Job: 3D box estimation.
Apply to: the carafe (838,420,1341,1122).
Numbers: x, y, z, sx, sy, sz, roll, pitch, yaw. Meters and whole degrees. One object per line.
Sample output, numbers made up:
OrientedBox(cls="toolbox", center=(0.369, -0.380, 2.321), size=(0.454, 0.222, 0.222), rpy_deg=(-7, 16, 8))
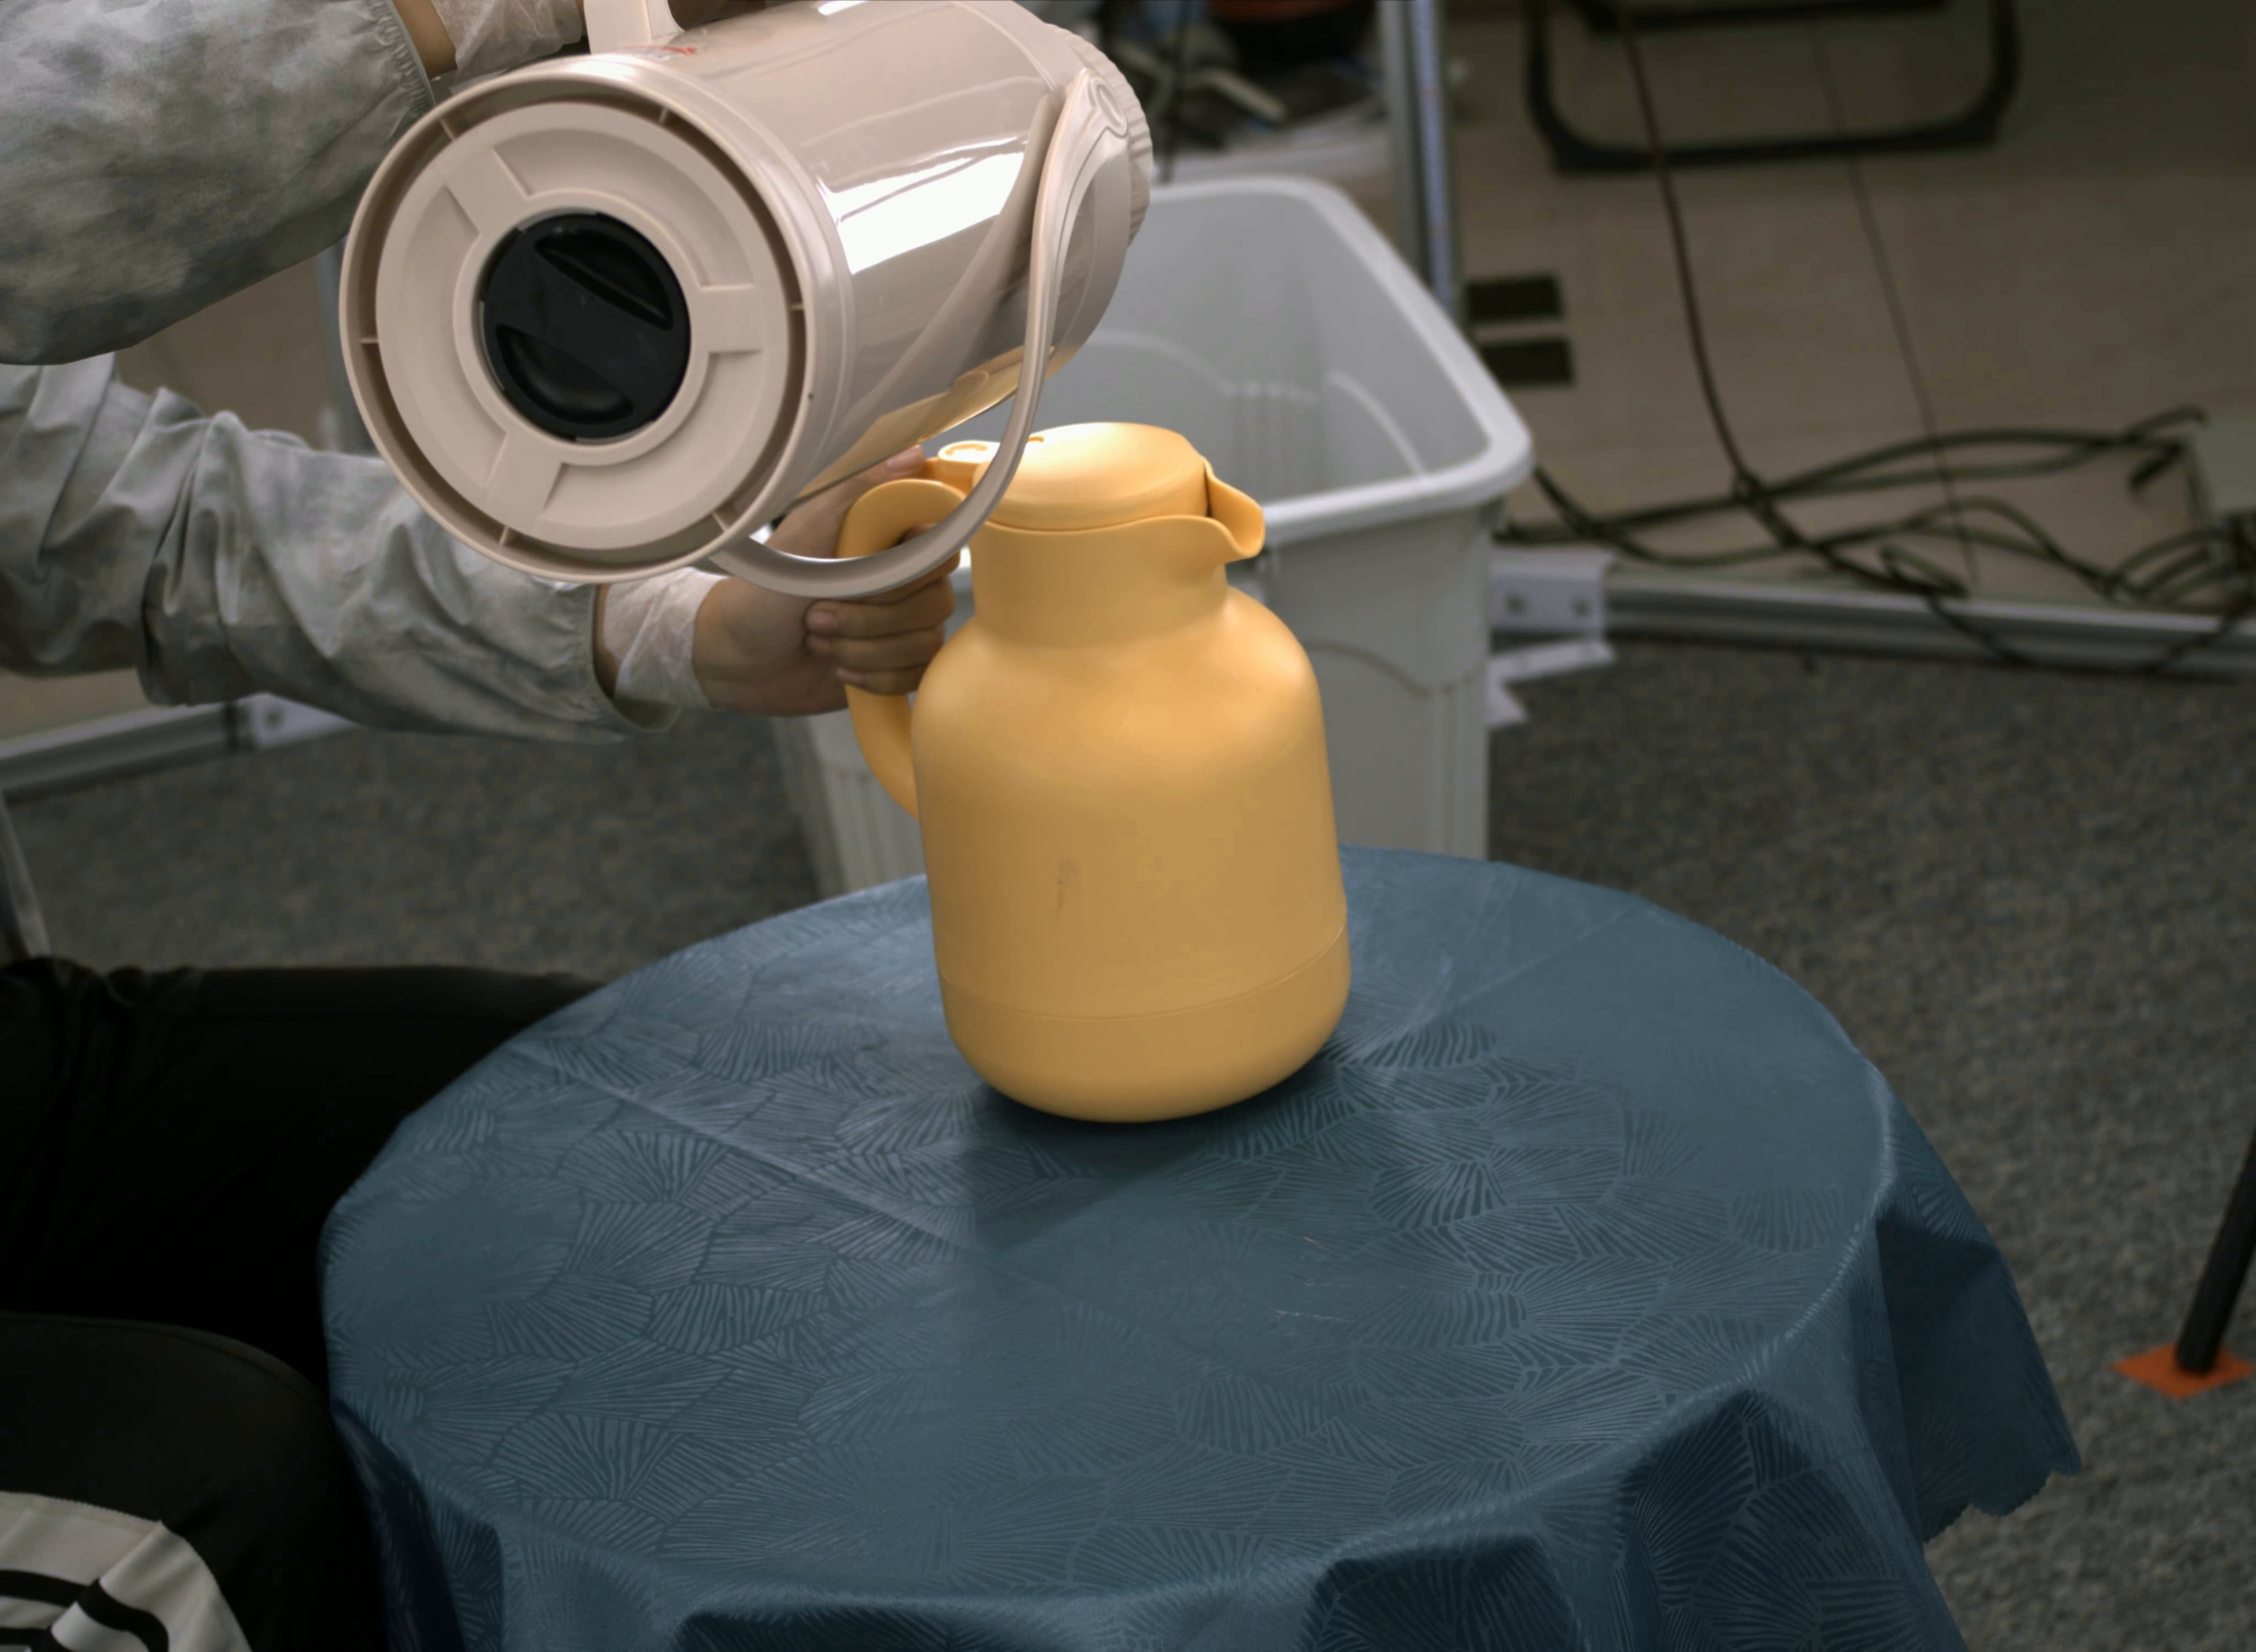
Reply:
OrientedBox(cls="carafe", center=(-0.019, -0.030, 2.203), size=(0.201, 0.264, 0.162), rpy_deg=(13, 30, 33))

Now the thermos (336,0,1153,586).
OrientedBox(cls="thermos", center=(-0.113, -0.210, 1.898), size=(0.176, 0.208, 0.403), rpy_deg=(-21, 6, 25))
